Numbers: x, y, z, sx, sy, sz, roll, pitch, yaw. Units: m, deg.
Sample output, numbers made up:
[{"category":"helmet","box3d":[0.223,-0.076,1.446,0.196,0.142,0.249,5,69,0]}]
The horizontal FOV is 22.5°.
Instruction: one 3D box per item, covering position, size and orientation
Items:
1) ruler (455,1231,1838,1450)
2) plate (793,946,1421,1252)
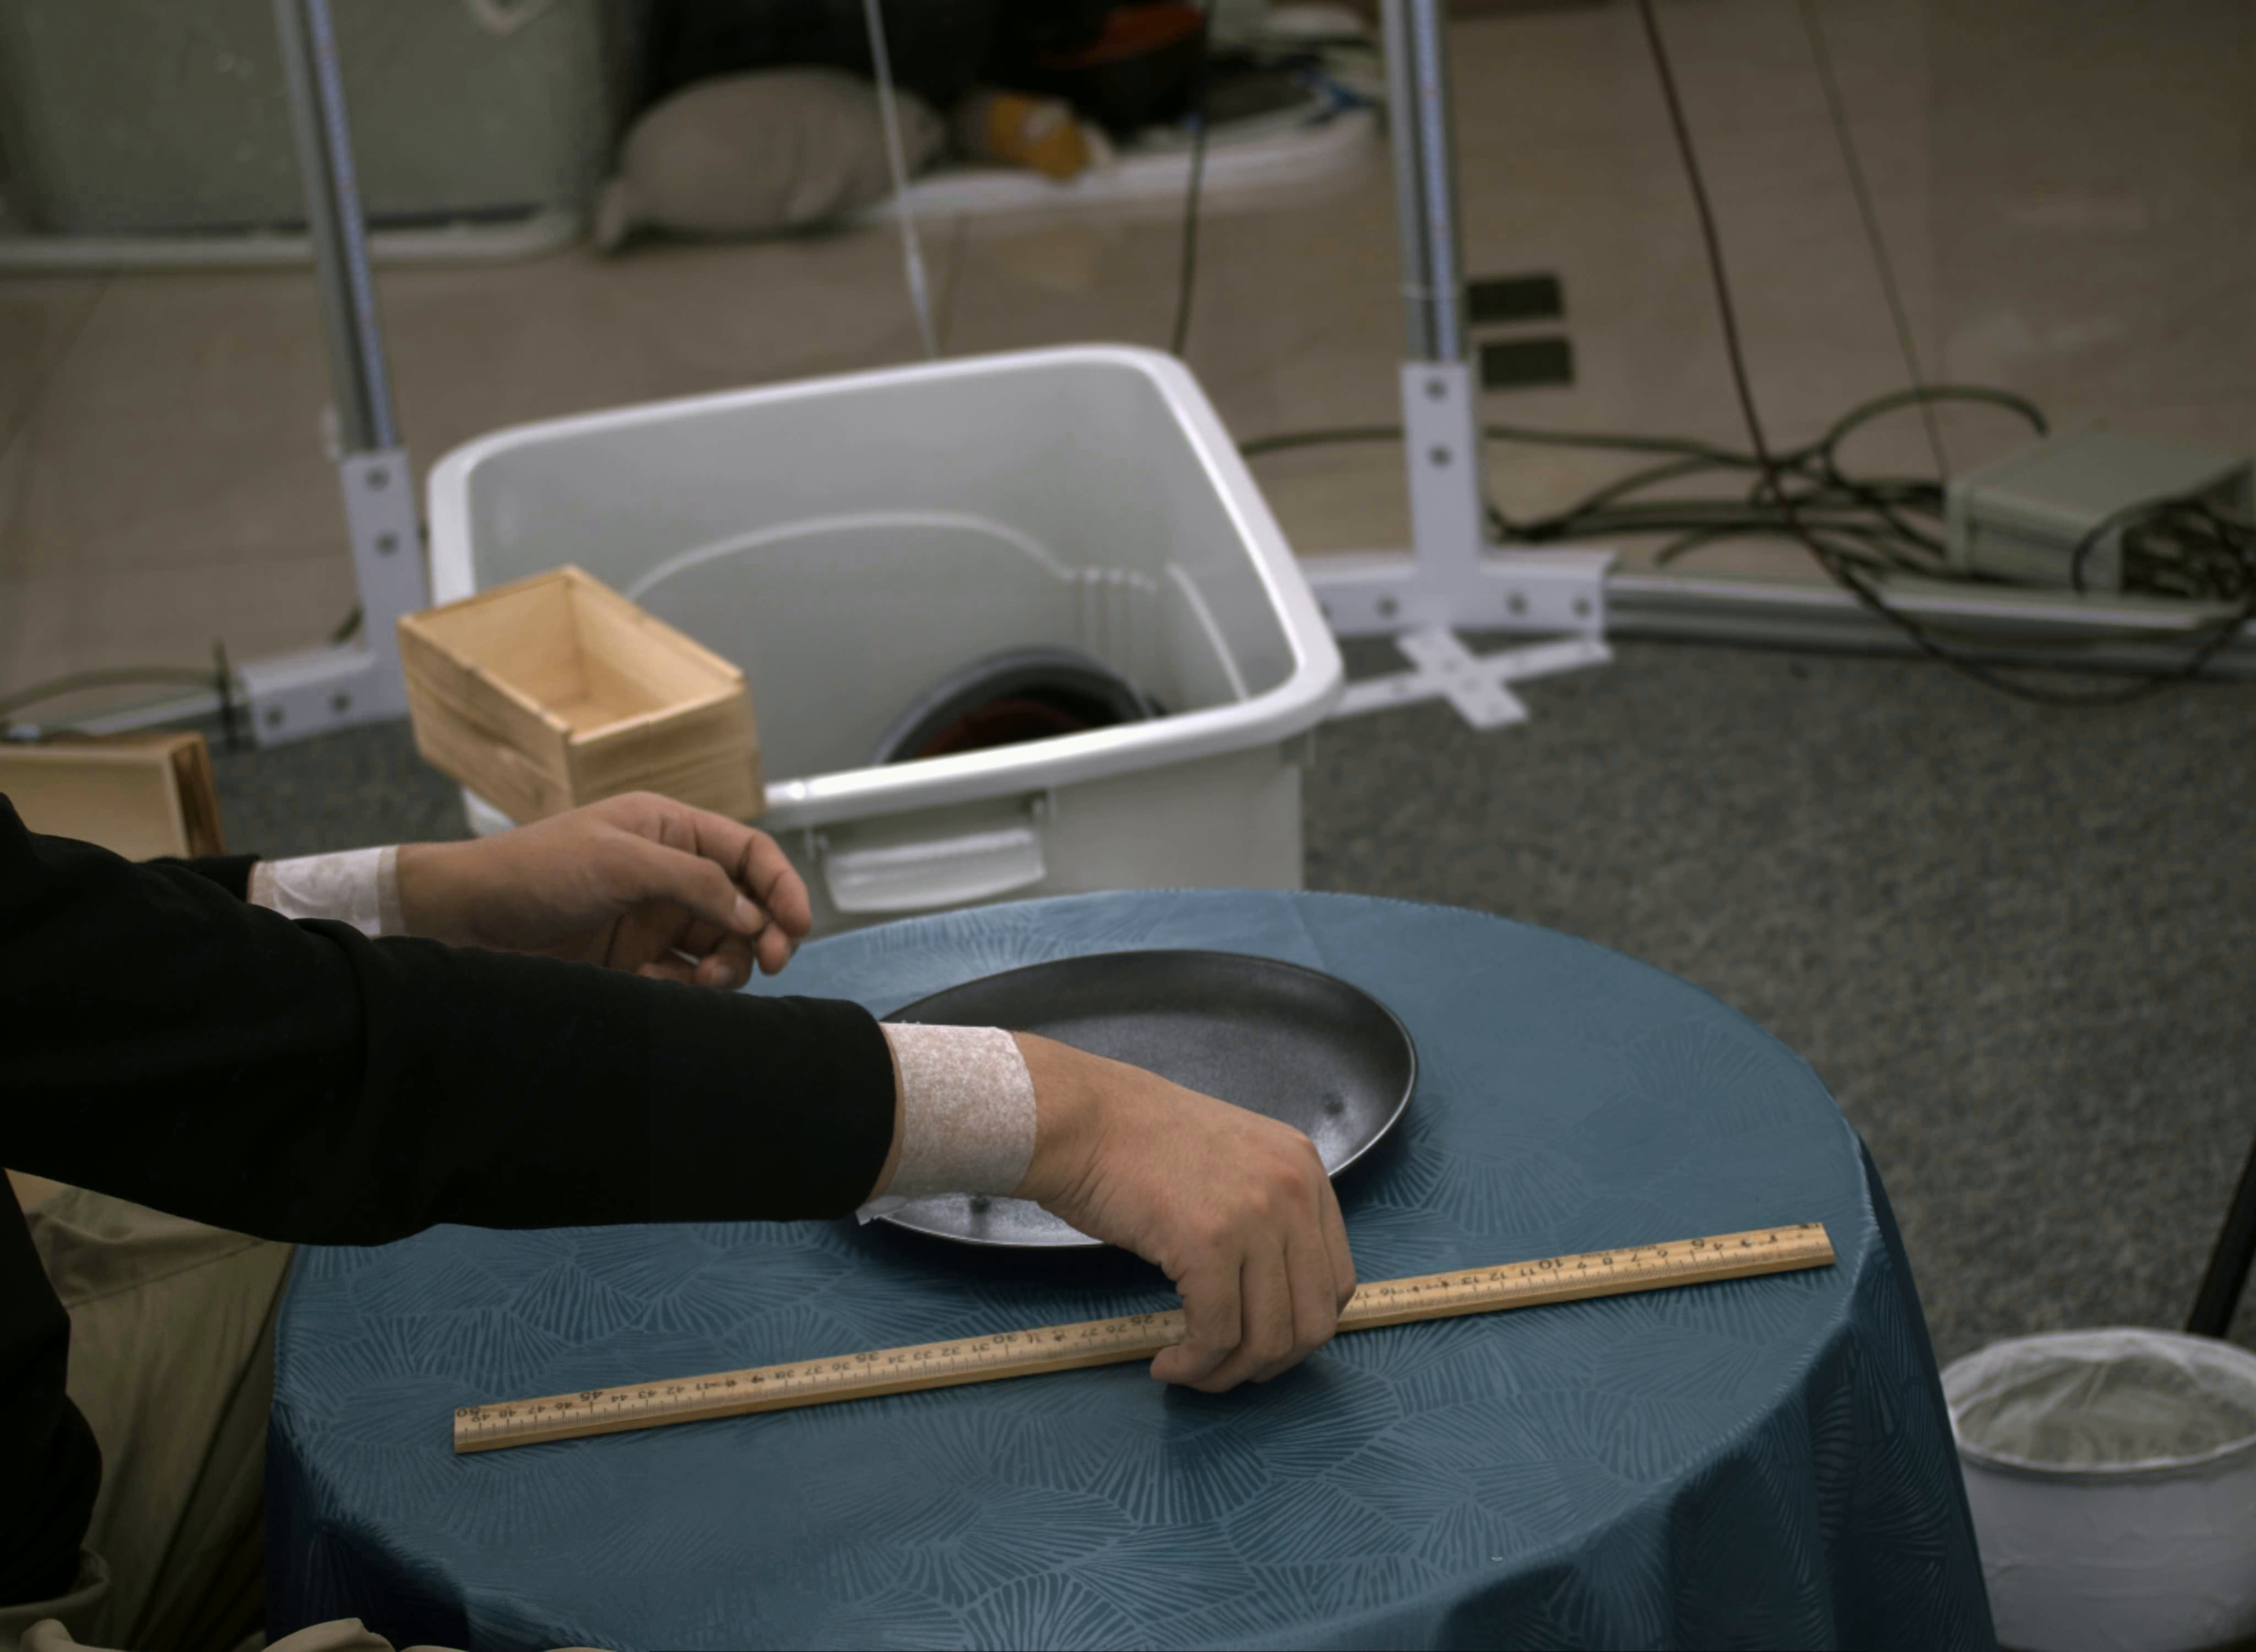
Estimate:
[{"category":"ruler","box3d":[0.006,0.184,2.043,0.499,0.006,0.026,-7,23,-1]},{"category":"plate","box3d":[-0.008,0.110,2.184,0.244,0.024,0.241,-5,25,3]}]
